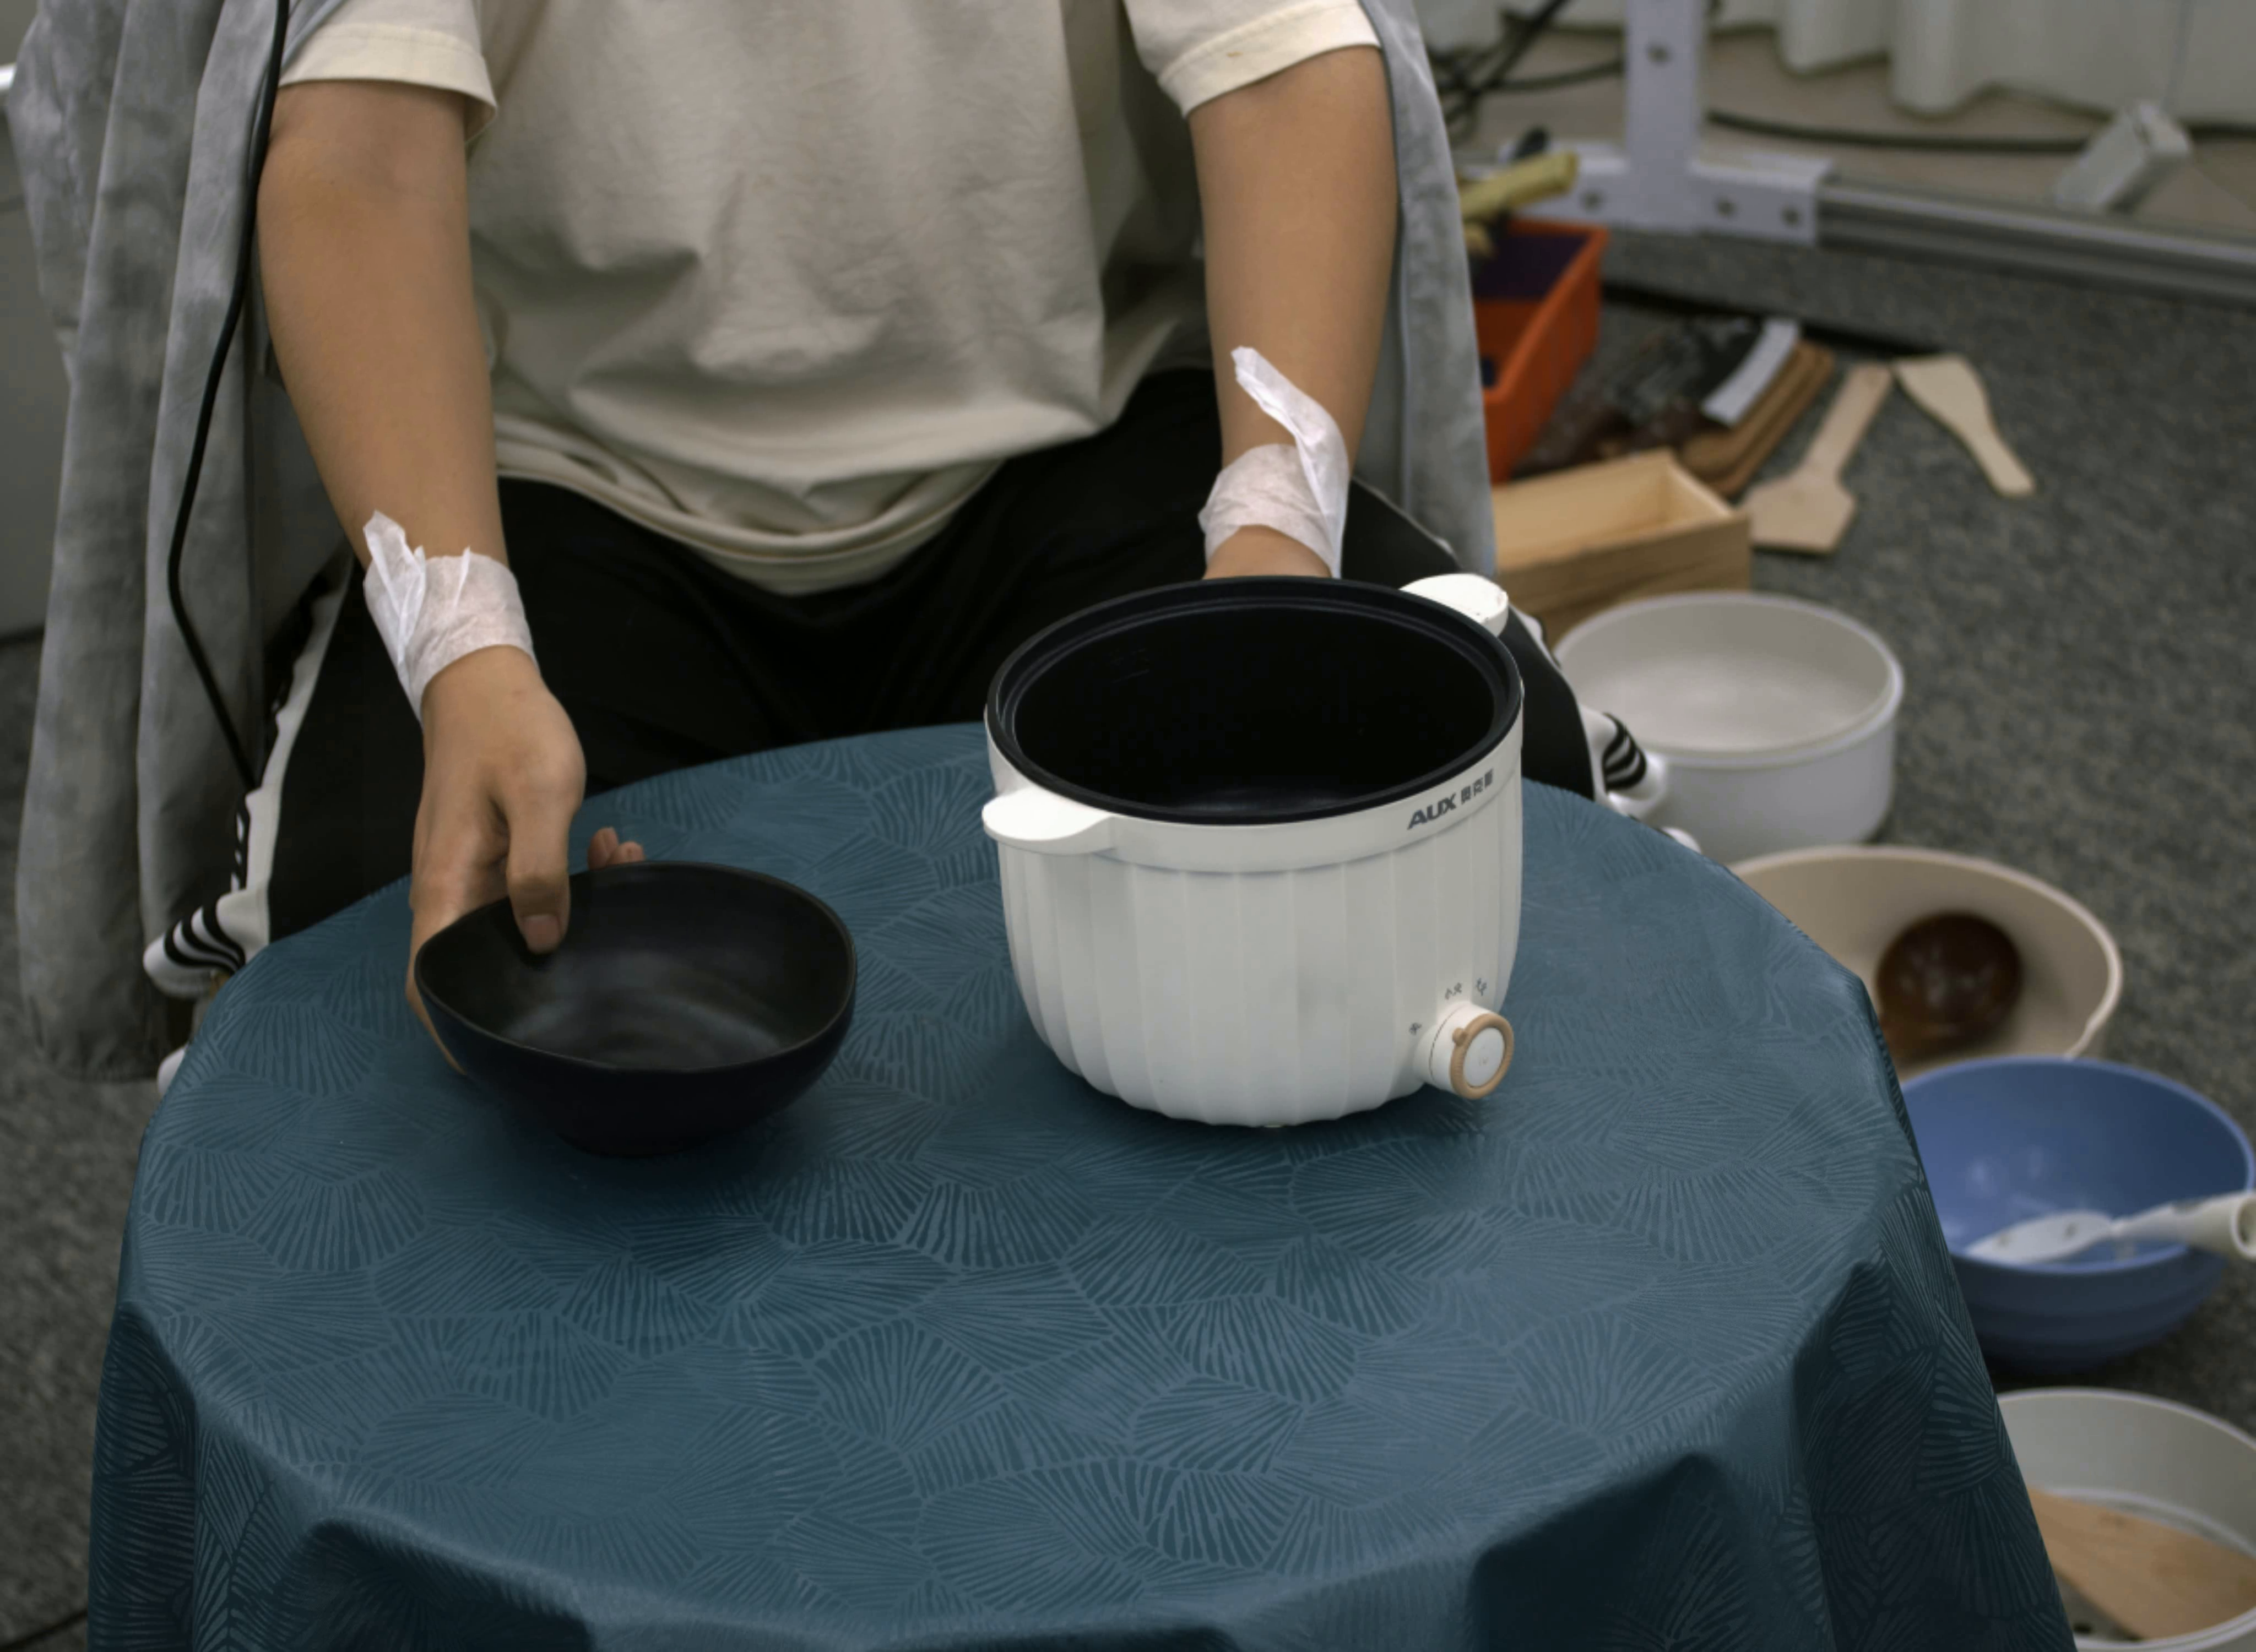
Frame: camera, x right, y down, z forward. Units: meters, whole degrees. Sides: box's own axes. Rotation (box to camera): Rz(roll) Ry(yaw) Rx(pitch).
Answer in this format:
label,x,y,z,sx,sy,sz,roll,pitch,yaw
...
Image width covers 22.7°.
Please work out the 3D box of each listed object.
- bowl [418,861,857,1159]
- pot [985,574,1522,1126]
label,x,y,z,sx,sy,sz,roll,pitch,yaw
bowl,-0.166,0.071,1.905,0.170,0.066,0.139,20,34,40
pot,0.050,0.014,1.916,0.190,0.141,0.243,17,34,41
